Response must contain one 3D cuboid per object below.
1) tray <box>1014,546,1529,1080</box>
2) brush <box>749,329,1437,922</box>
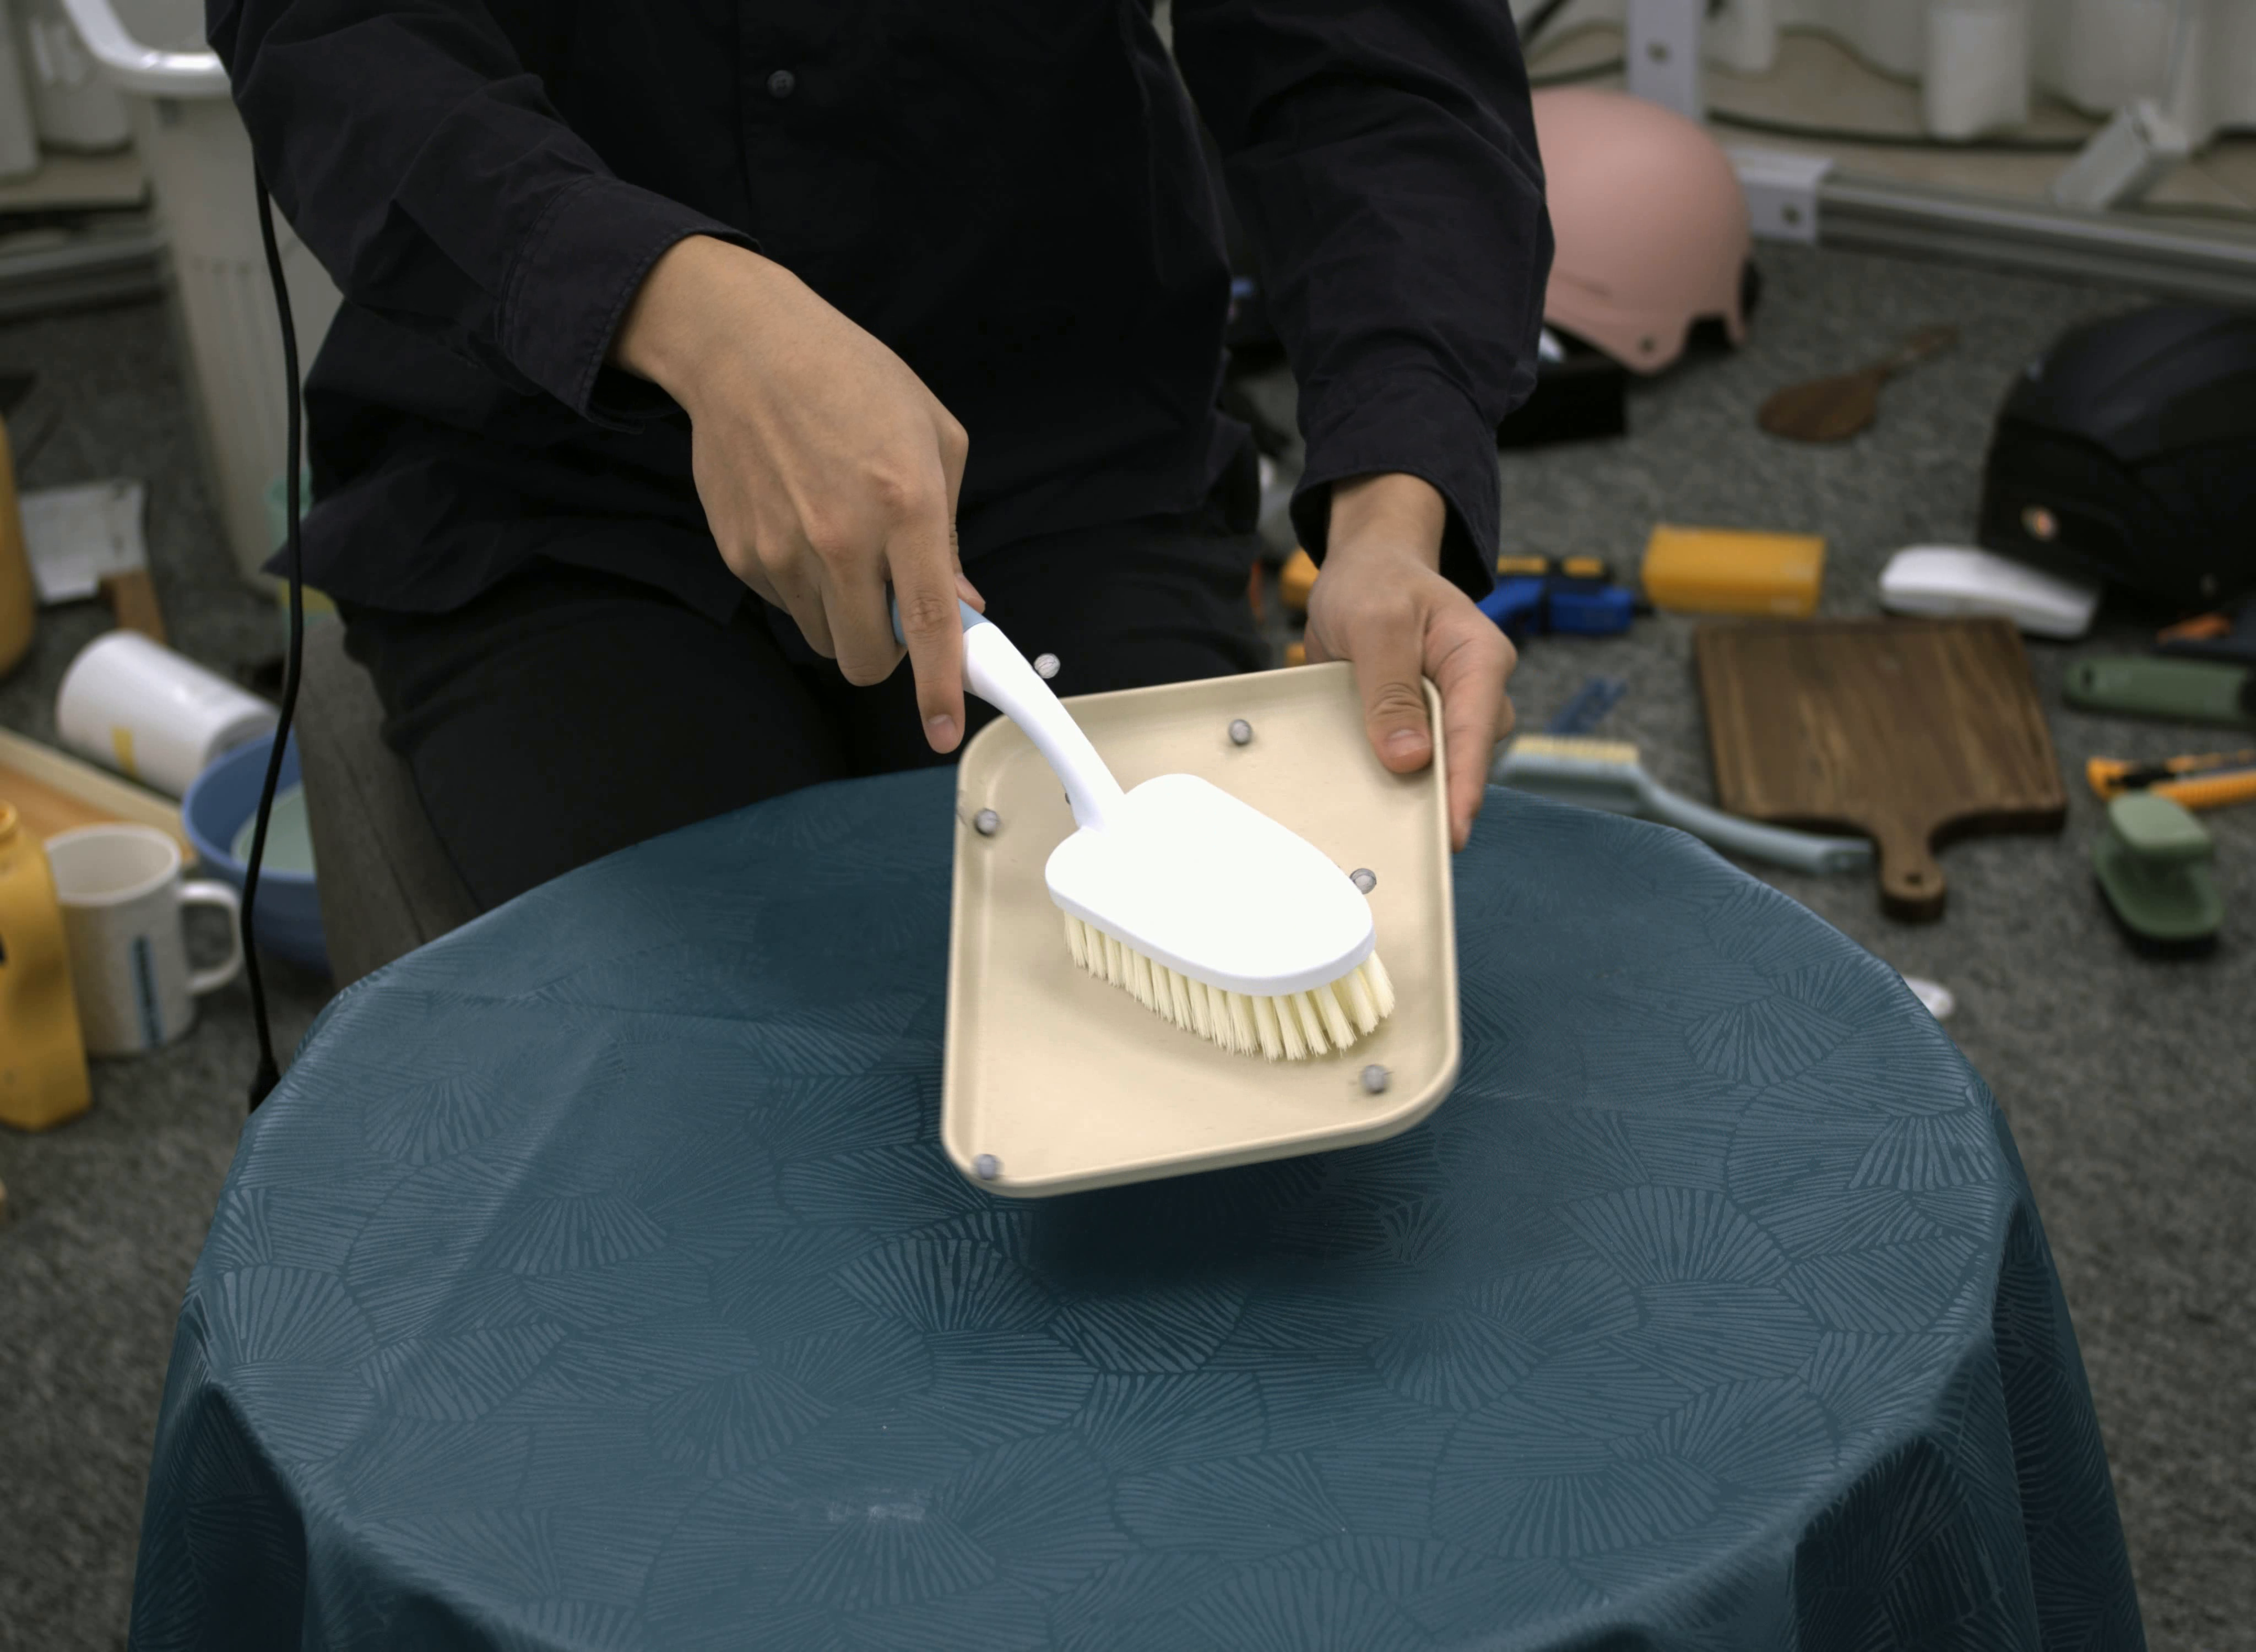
[{"bbox_3d":[0.046,-0.005,1.880,0.170,0.017,0.244,-9,39,7],"label":"tray"},{"bbox_3d":[-0.013,-0.062,1.912,0.326,0.084,0.083,38,23,32],"label":"brush"}]
